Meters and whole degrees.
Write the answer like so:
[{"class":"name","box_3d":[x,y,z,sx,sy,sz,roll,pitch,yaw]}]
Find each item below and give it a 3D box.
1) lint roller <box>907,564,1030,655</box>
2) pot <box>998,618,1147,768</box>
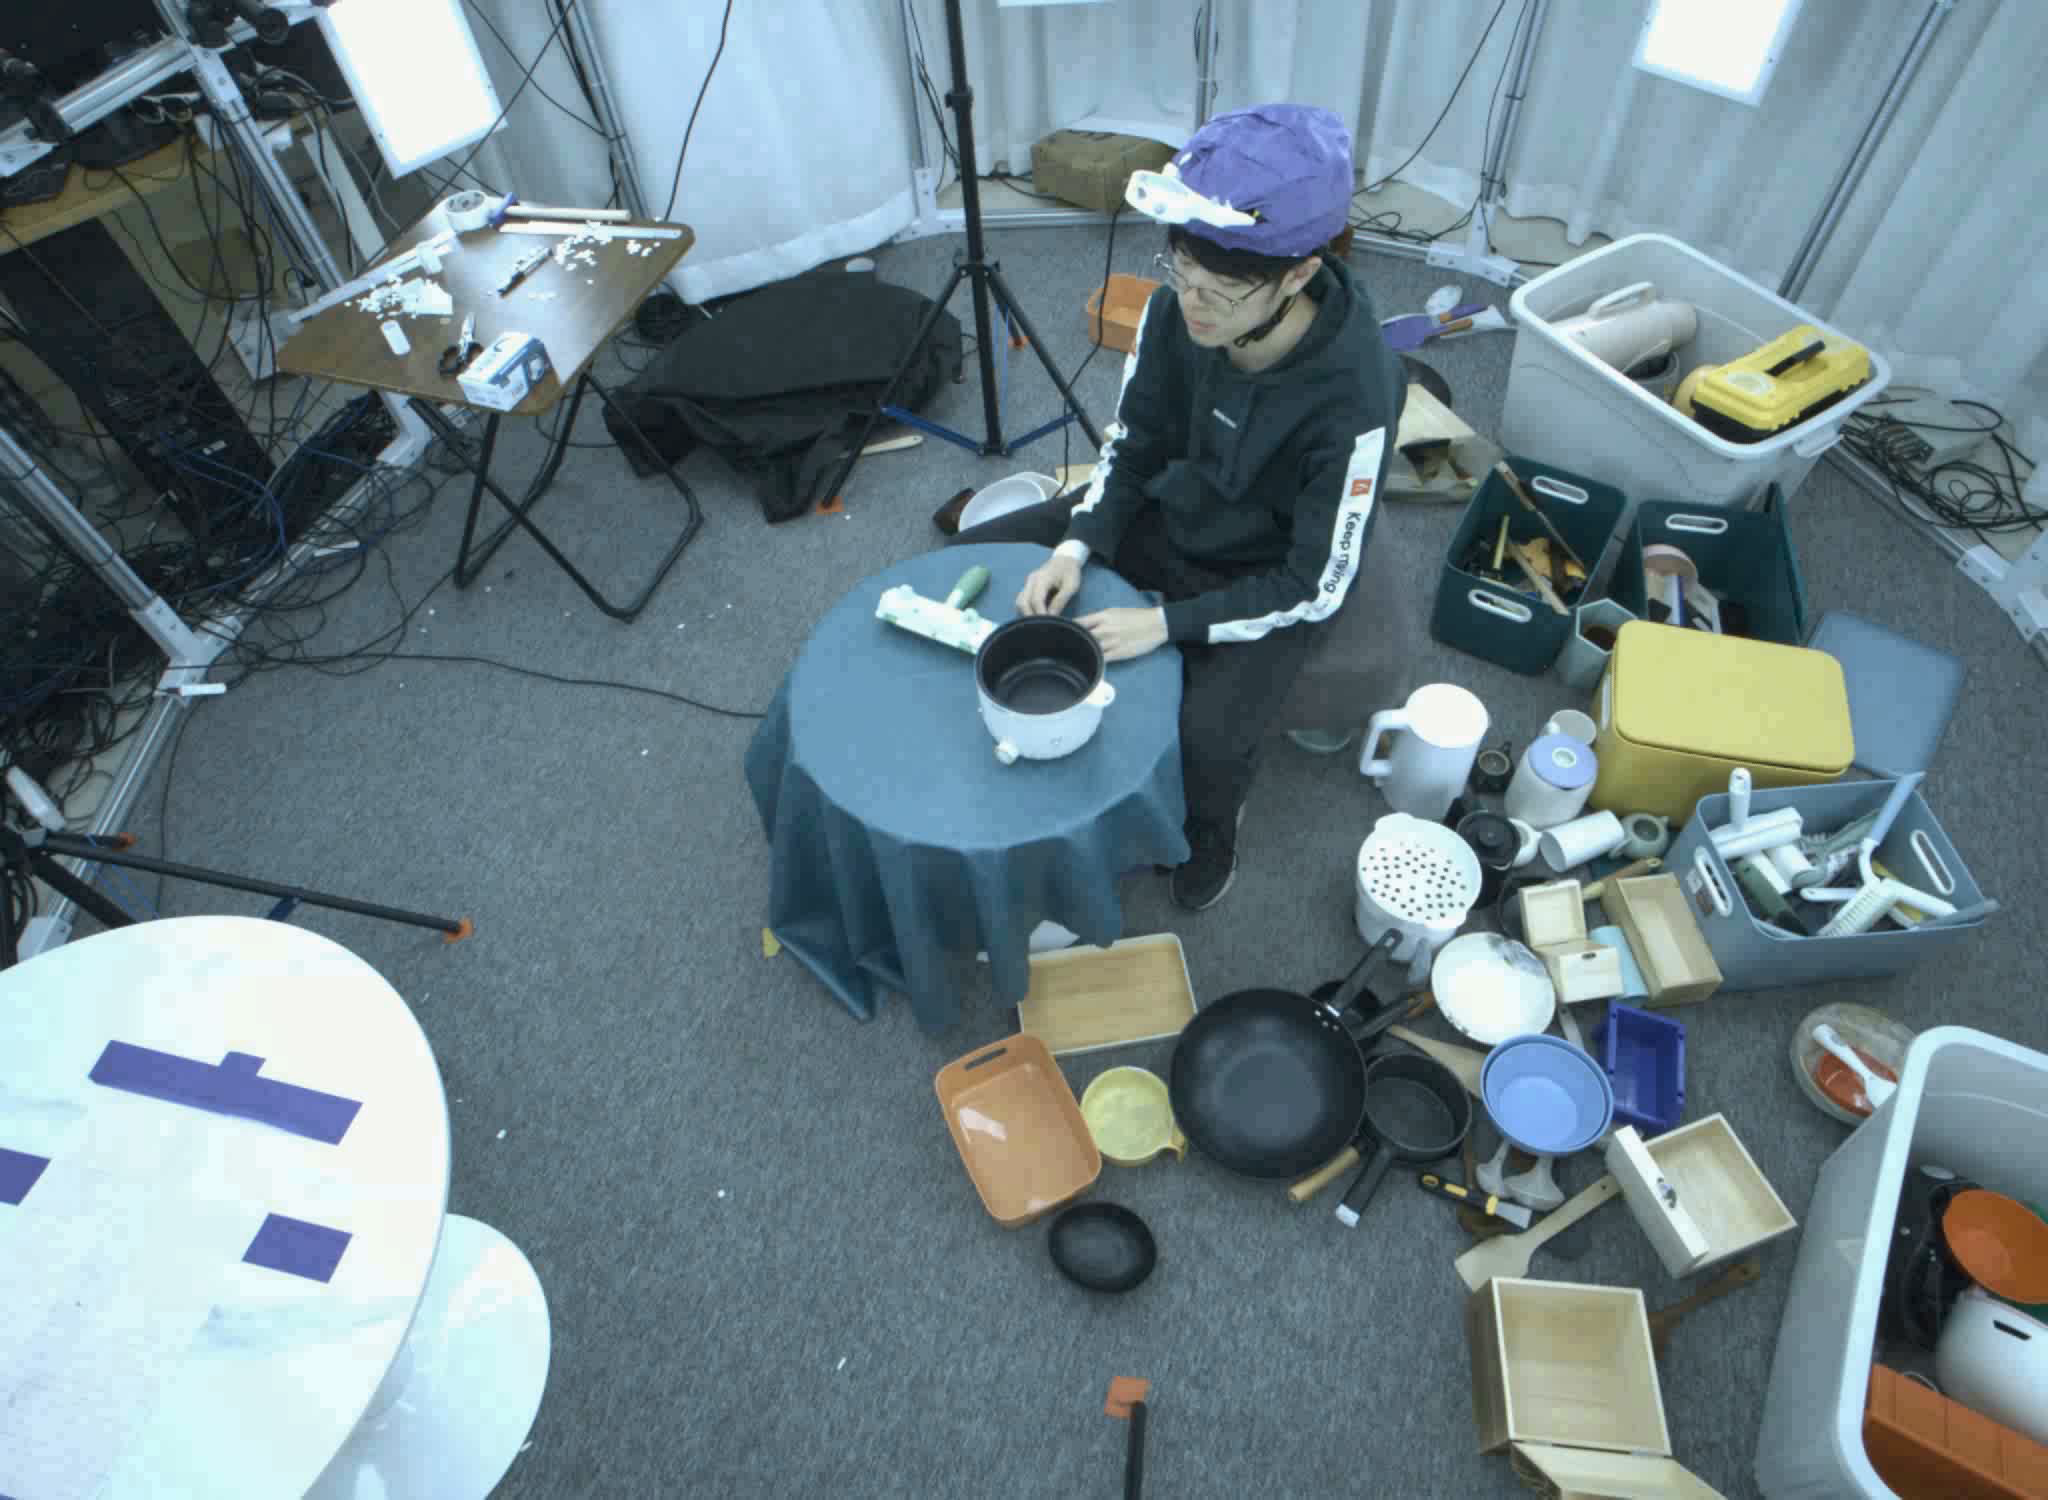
[{"class":"lint roller","box_3d":[-0.058,-0.243,1.911,0.196,0.083,0.183,24,64,18]},{"class":"pot","box_3d":[0.066,-0.072,1.747,0.236,0.144,0.191,28,57,22]}]
